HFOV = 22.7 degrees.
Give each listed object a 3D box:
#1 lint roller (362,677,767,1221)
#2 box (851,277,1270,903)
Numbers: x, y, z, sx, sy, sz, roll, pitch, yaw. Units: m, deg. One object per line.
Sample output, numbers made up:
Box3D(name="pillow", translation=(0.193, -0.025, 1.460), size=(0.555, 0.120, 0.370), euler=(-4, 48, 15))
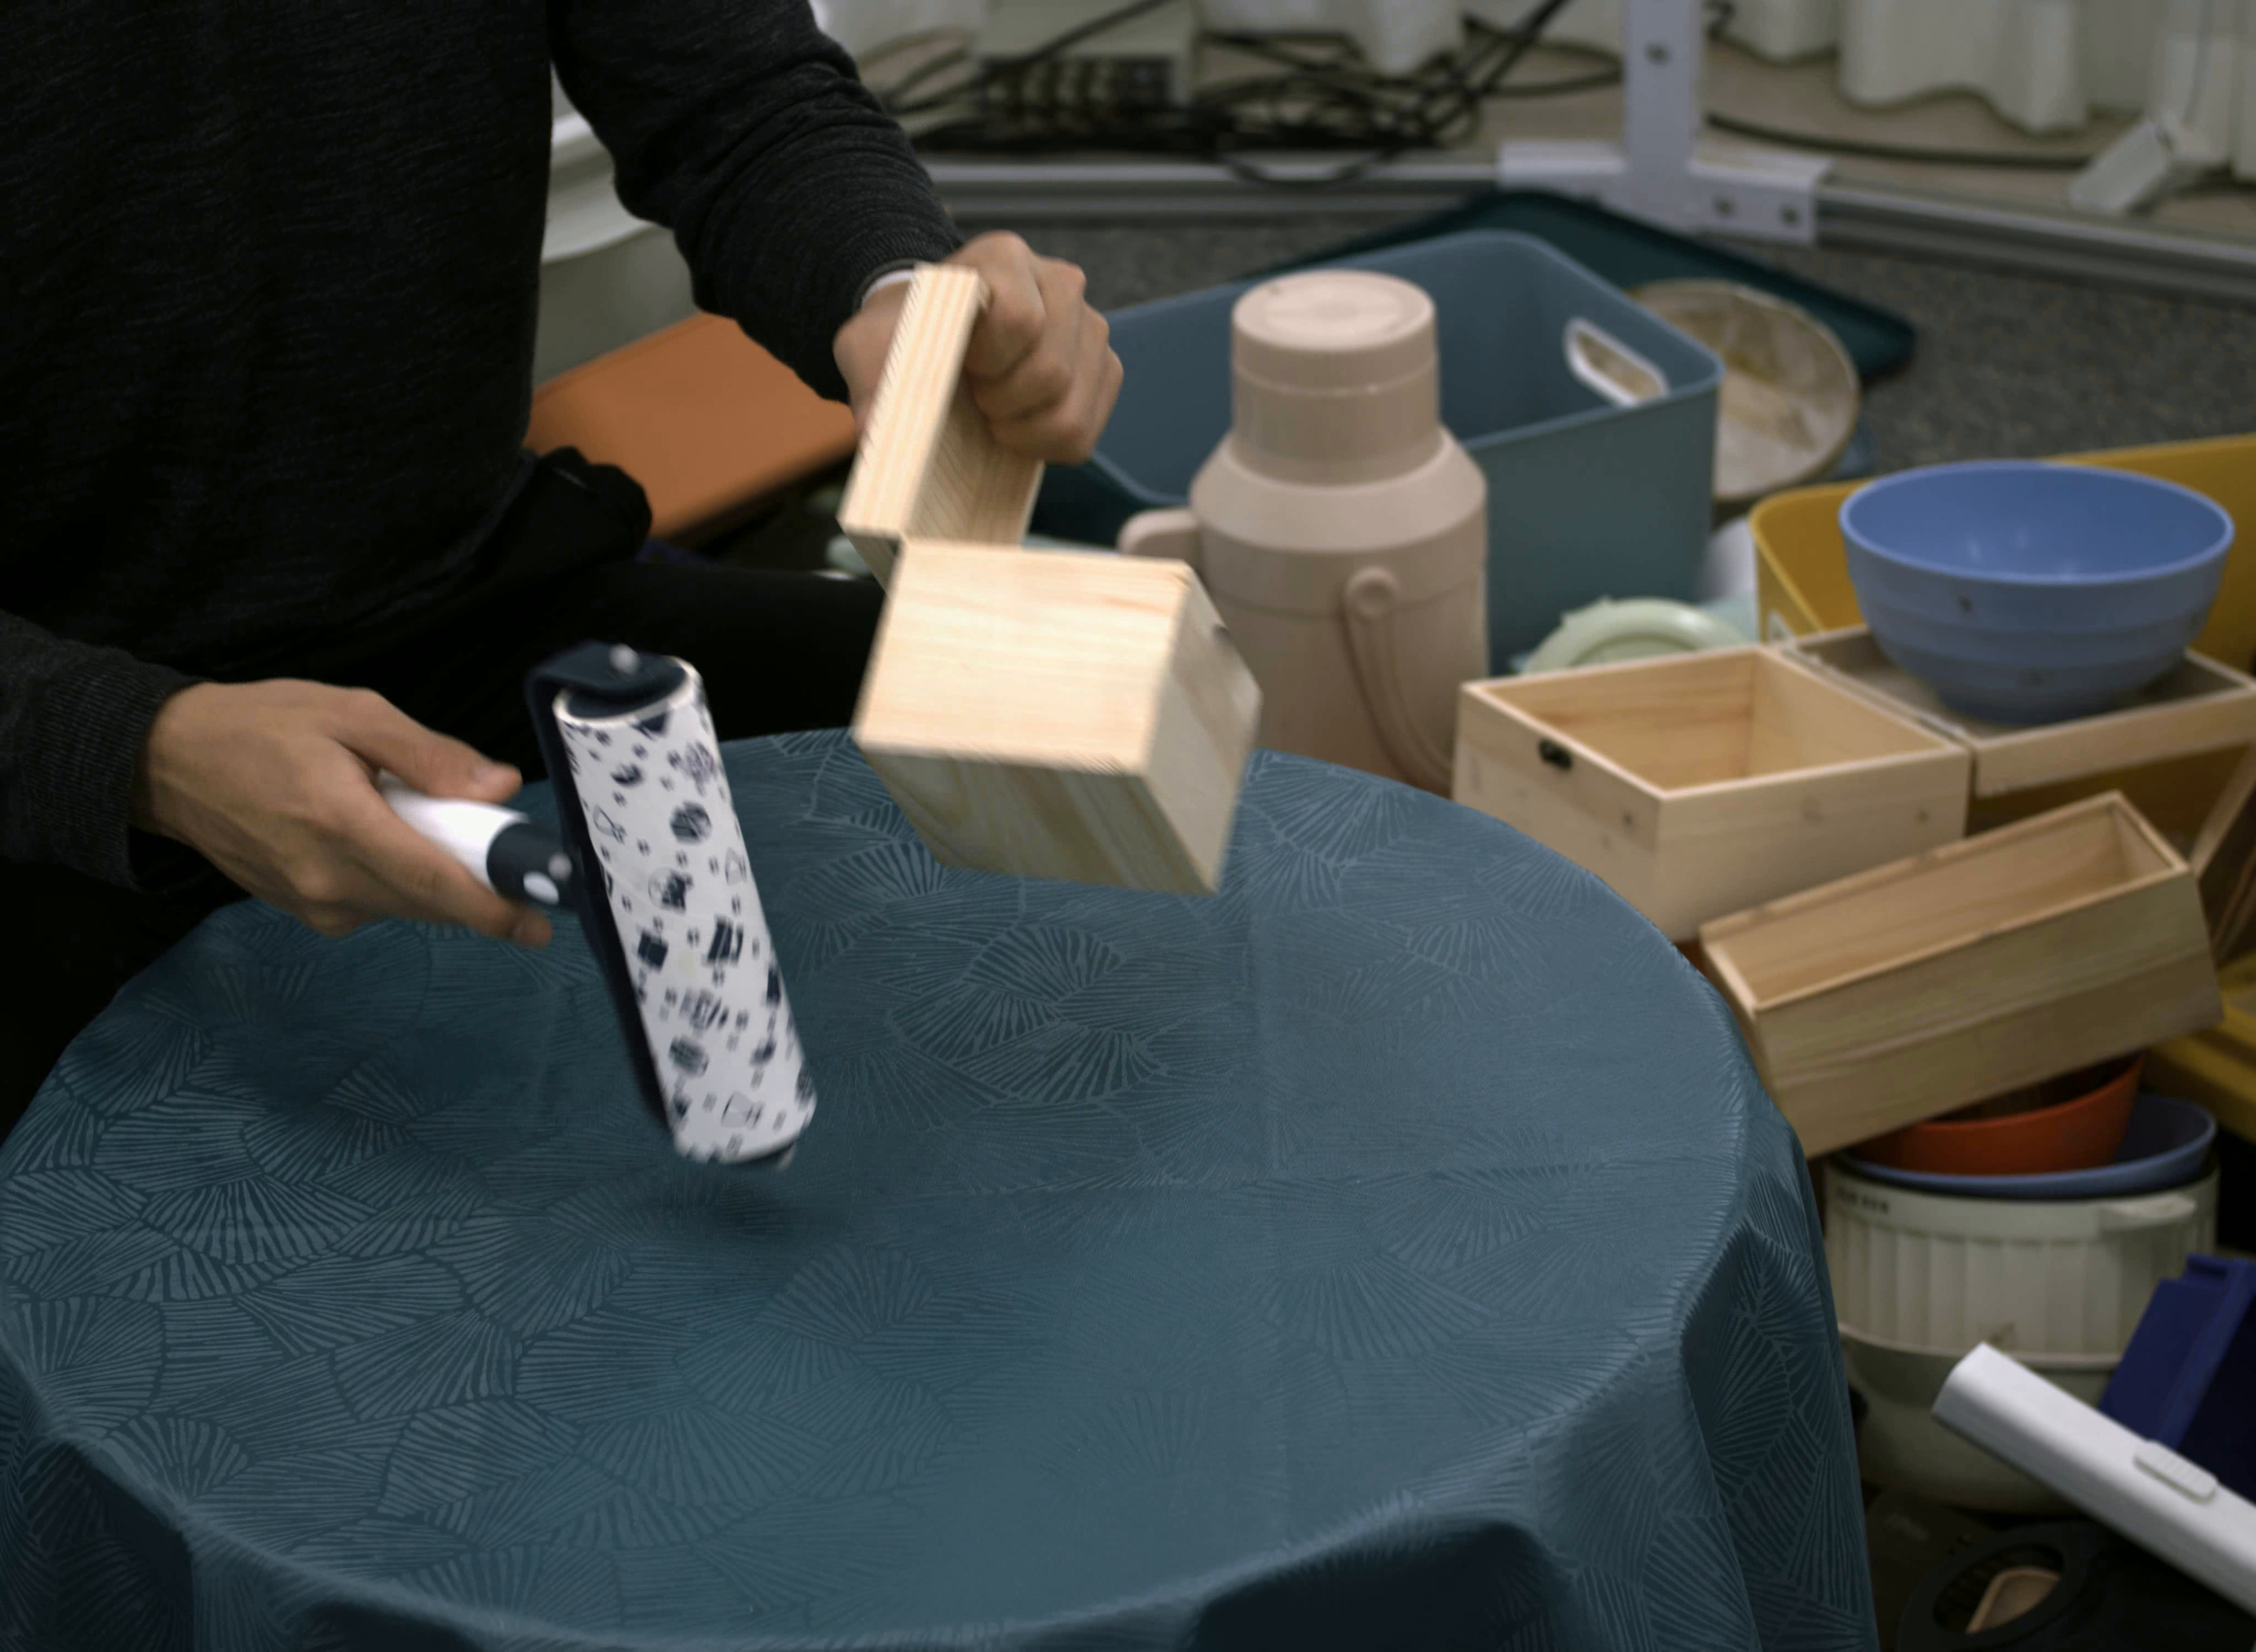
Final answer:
Box3D(name="lint roller", translation=(-0.200, 0.011, 1.884), size=(0.051, 0.174, 0.247), euler=(-17, 28, -31))
Box3D(name="box", translation=(-0.017, -0.082, 1.915), size=(0.133, 0.101, 0.187), euler=(4, 66, 17))
